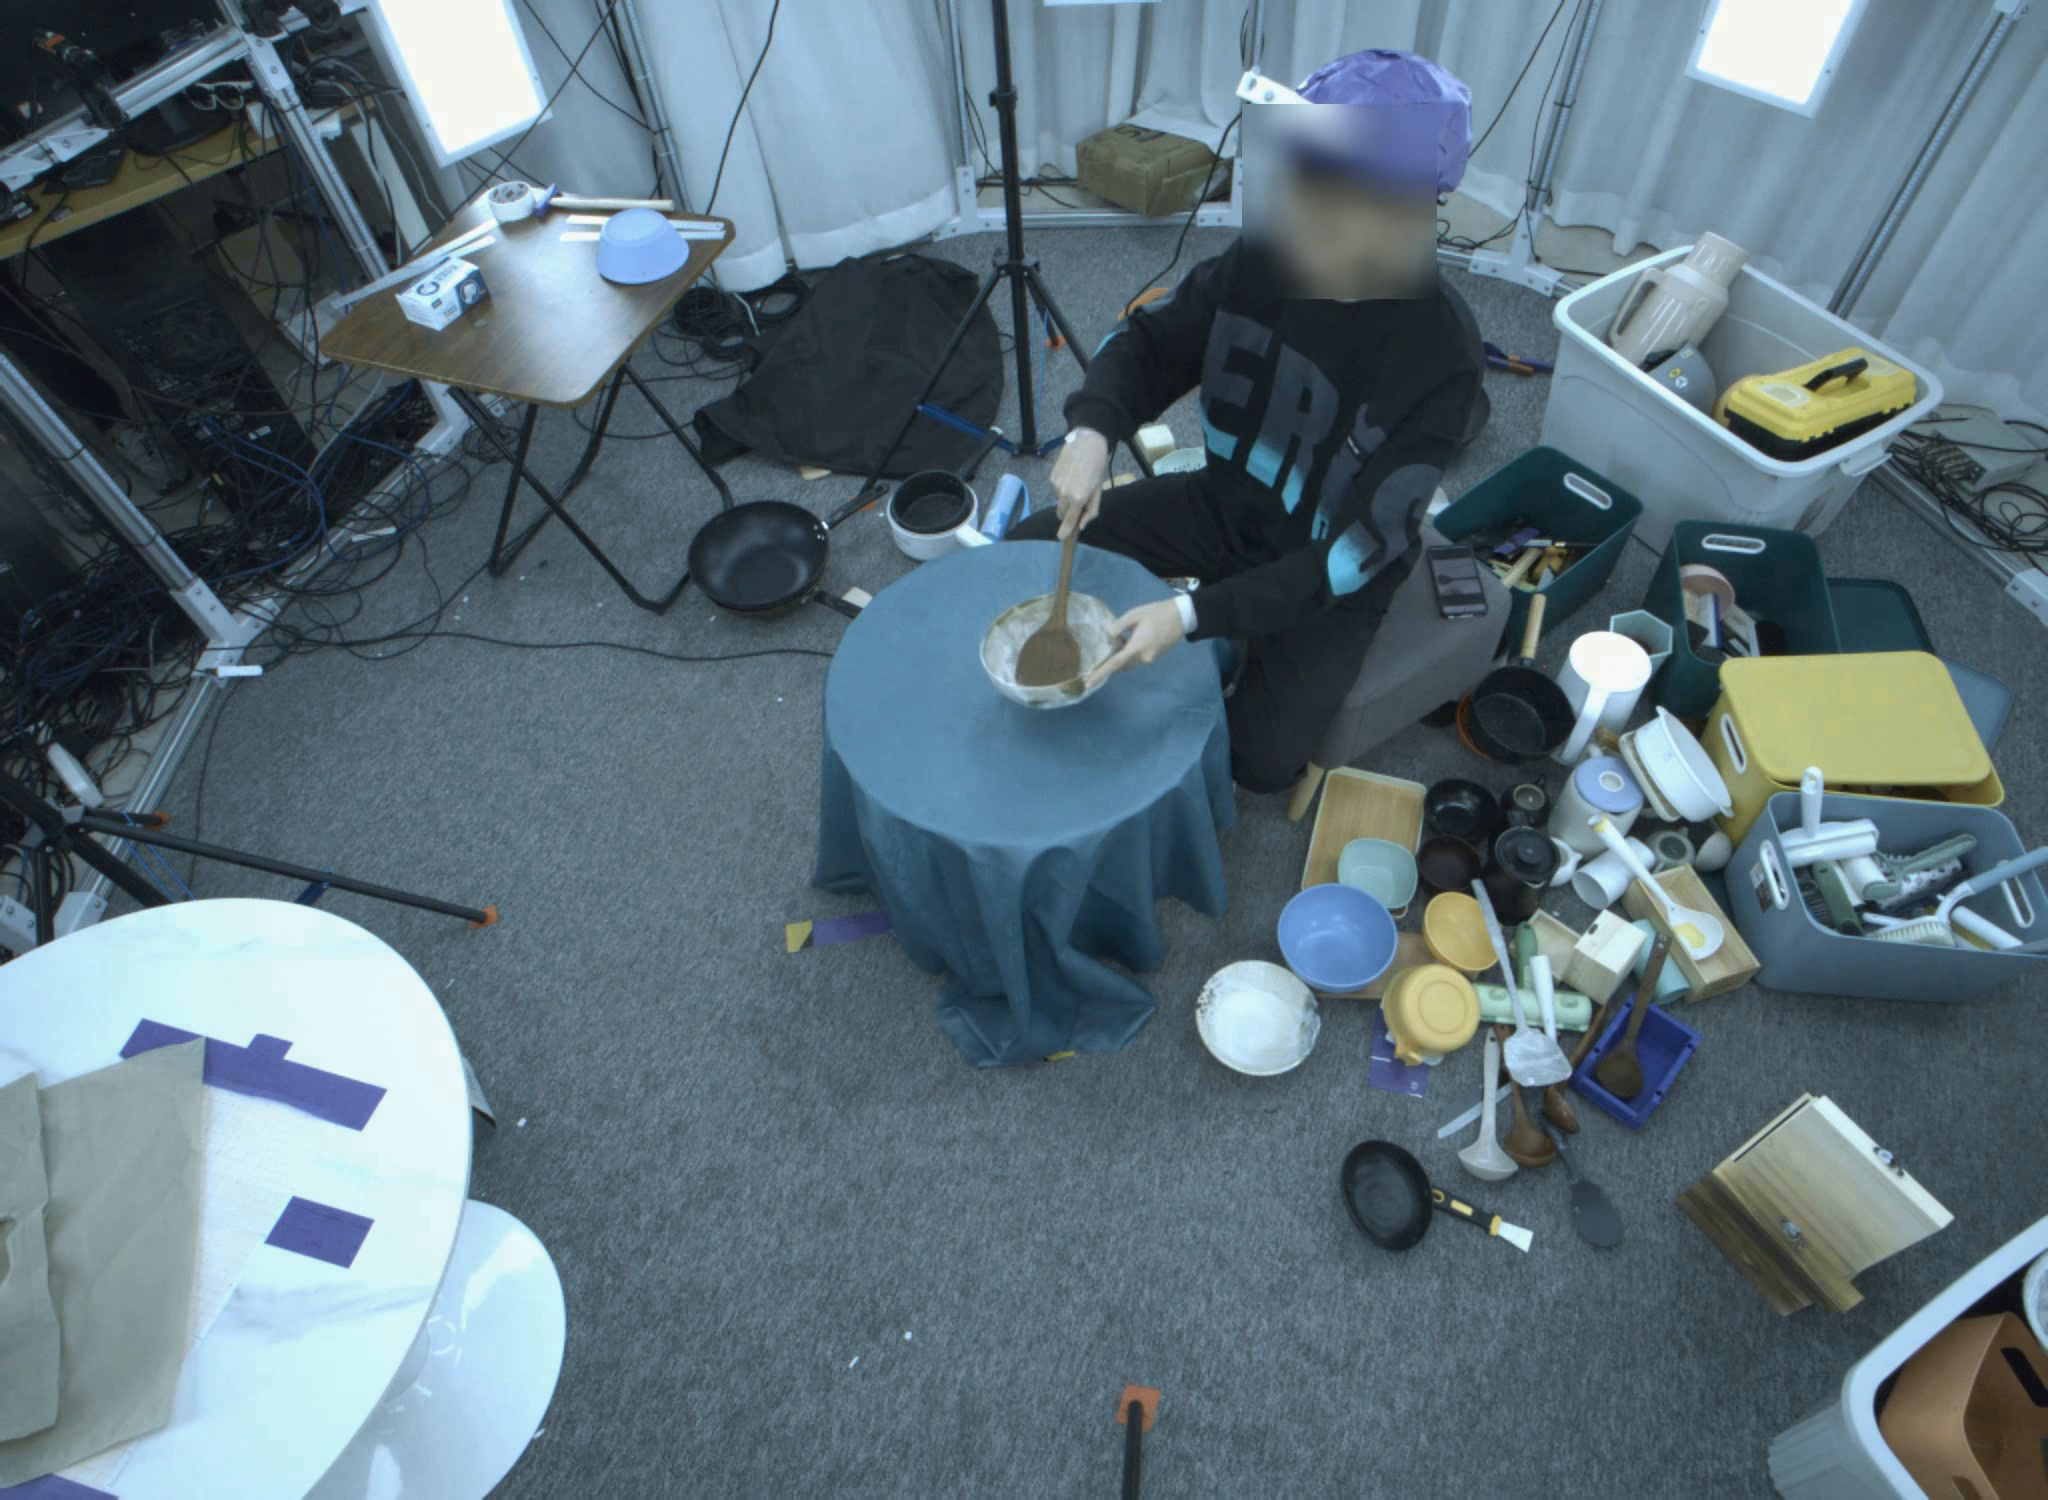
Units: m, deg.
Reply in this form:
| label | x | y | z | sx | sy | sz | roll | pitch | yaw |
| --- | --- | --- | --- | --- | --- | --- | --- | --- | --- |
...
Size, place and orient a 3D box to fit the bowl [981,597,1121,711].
| label | x | y | z | sx | sy | sz | roll | pitch | yaw |
| --- | --- | --- | --- | --- | --- | --- | --- | --- | --- |
| bowl | 0.049 | -0.126 | 1.781 | 0.213 | 0.096 | 0.212 | -7 | 45 | 8 |

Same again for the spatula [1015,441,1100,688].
| label | x | y | z | sx | sy | sz | roll | pitch | yaw |
| --- | --- | --- | --- | --- | --- | --- | --- | --- | --- |
| spatula | 0.063 | -0.269 | 1.802 | 0.095 | 0.016 | 0.386 | 11 | 92 | 11 |
